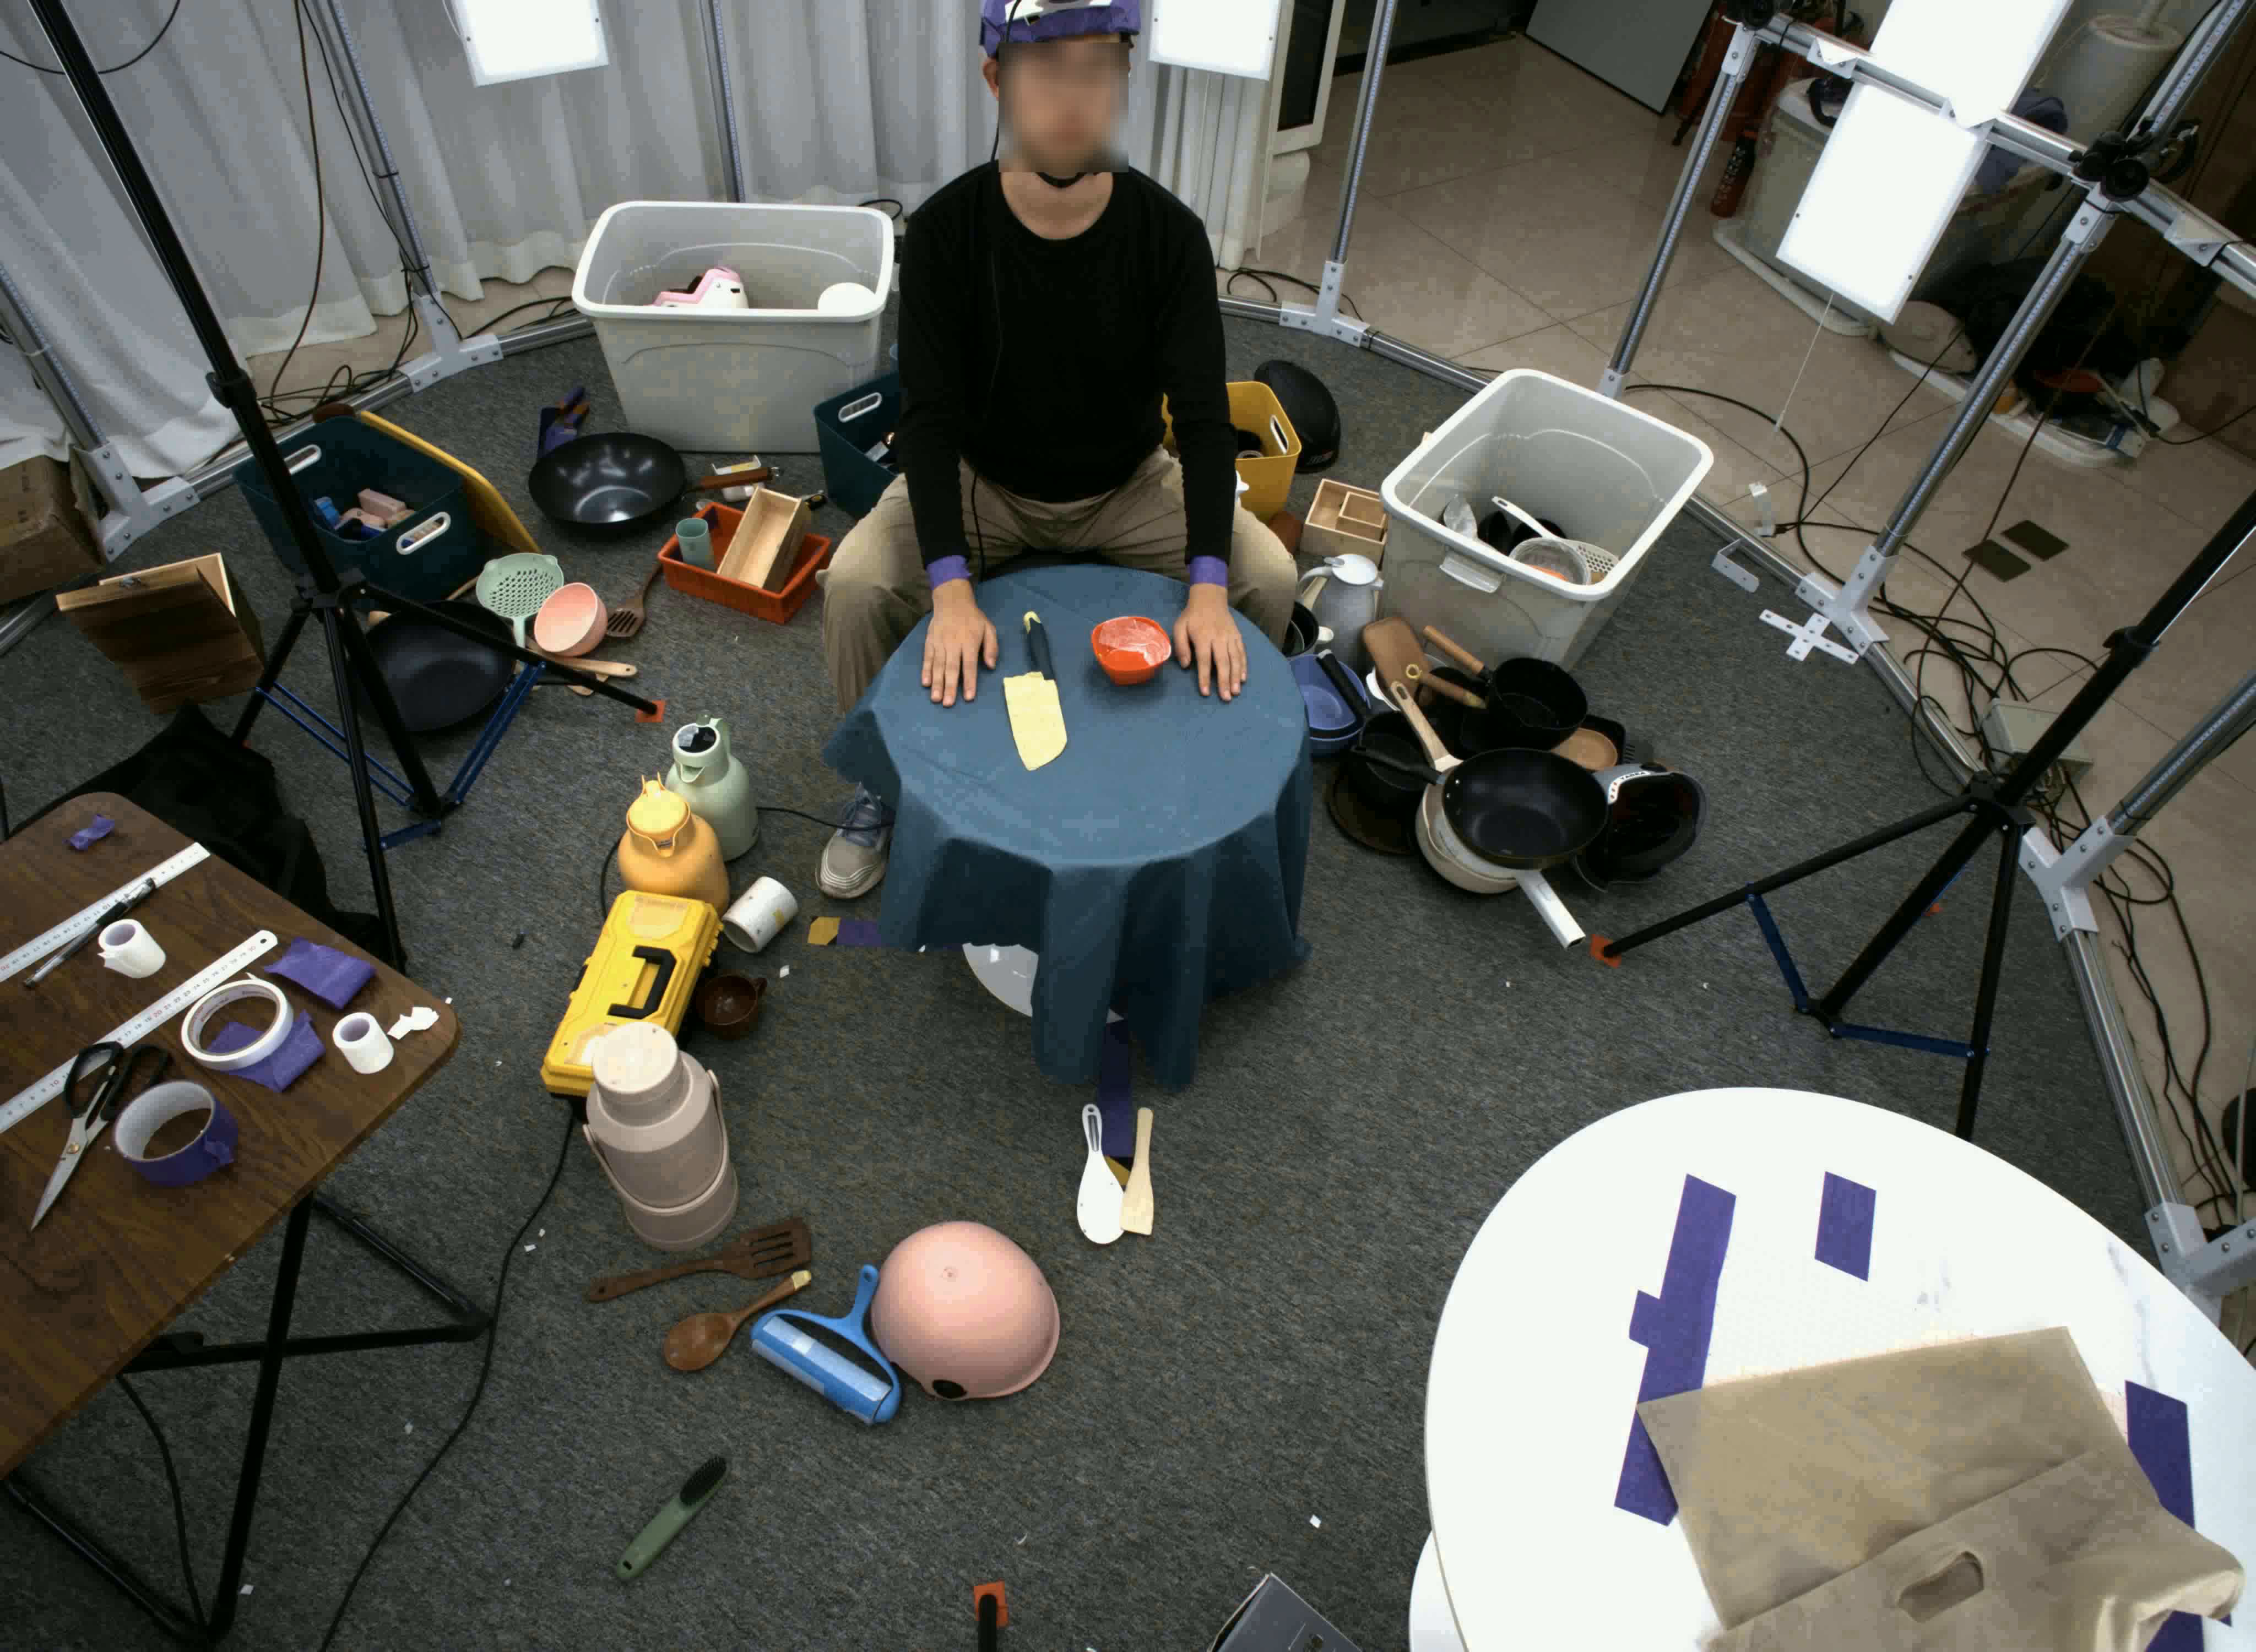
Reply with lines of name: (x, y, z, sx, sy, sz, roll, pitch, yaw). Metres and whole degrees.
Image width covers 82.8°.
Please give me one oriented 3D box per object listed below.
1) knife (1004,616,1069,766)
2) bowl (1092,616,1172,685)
knife: (-0.134, -0.194, 1.820, 0.081, 0.026, 0.297, -3, 50, -8)
bowl: (0.004, -0.247, 1.850, 0.119, 0.050, 0.122, 1, 51, -1)
